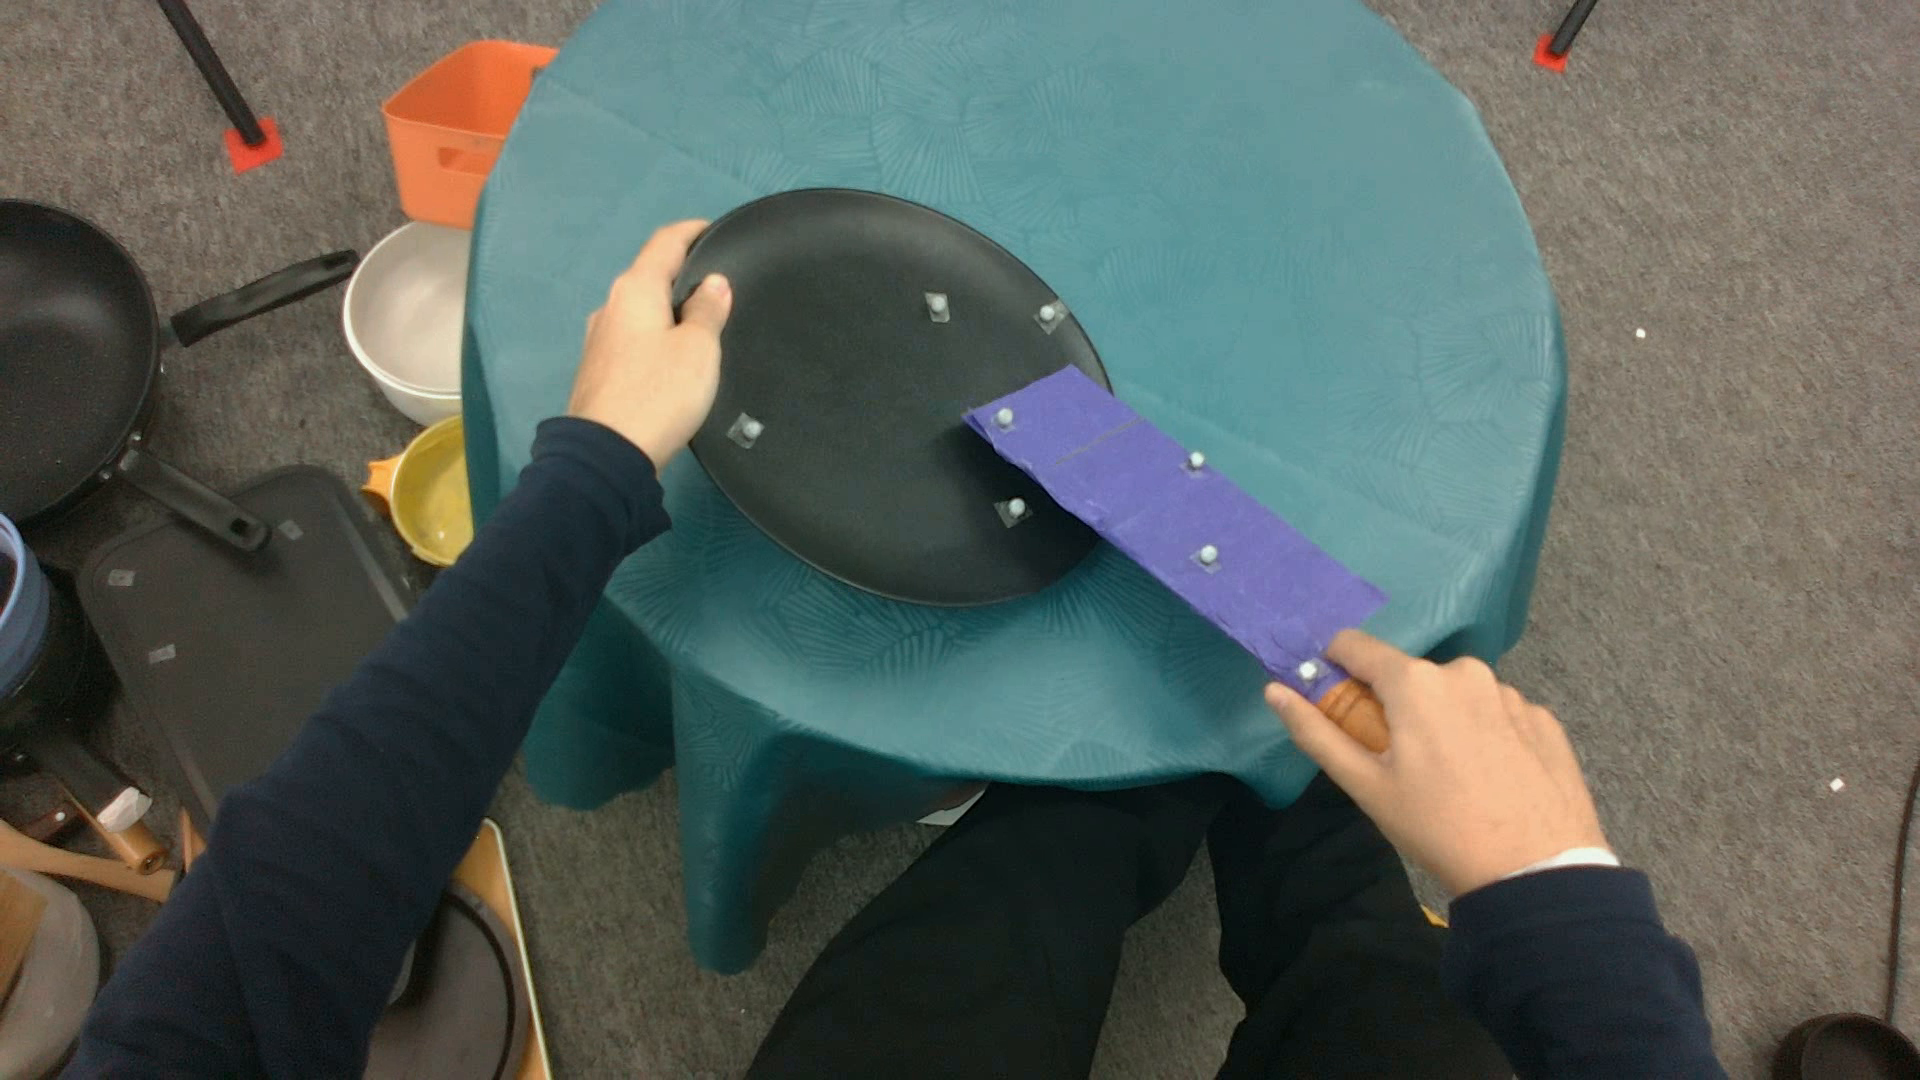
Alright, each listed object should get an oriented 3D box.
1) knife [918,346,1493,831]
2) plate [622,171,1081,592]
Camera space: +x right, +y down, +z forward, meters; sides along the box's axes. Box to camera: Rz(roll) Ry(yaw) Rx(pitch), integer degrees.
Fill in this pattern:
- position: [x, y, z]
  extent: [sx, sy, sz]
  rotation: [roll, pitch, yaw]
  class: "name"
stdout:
- position: [0.121, 0.002, 0.639]
  extent: [0.315, 0.032, 0.104]
  rotation: [41, 47, 22]
  class: "knife"
- position: [-0.045, -0.079, 0.674]
  extent: [0.244, 0.023, 0.245]
  rotation: [14, 55, -22]
  class: "plate"
